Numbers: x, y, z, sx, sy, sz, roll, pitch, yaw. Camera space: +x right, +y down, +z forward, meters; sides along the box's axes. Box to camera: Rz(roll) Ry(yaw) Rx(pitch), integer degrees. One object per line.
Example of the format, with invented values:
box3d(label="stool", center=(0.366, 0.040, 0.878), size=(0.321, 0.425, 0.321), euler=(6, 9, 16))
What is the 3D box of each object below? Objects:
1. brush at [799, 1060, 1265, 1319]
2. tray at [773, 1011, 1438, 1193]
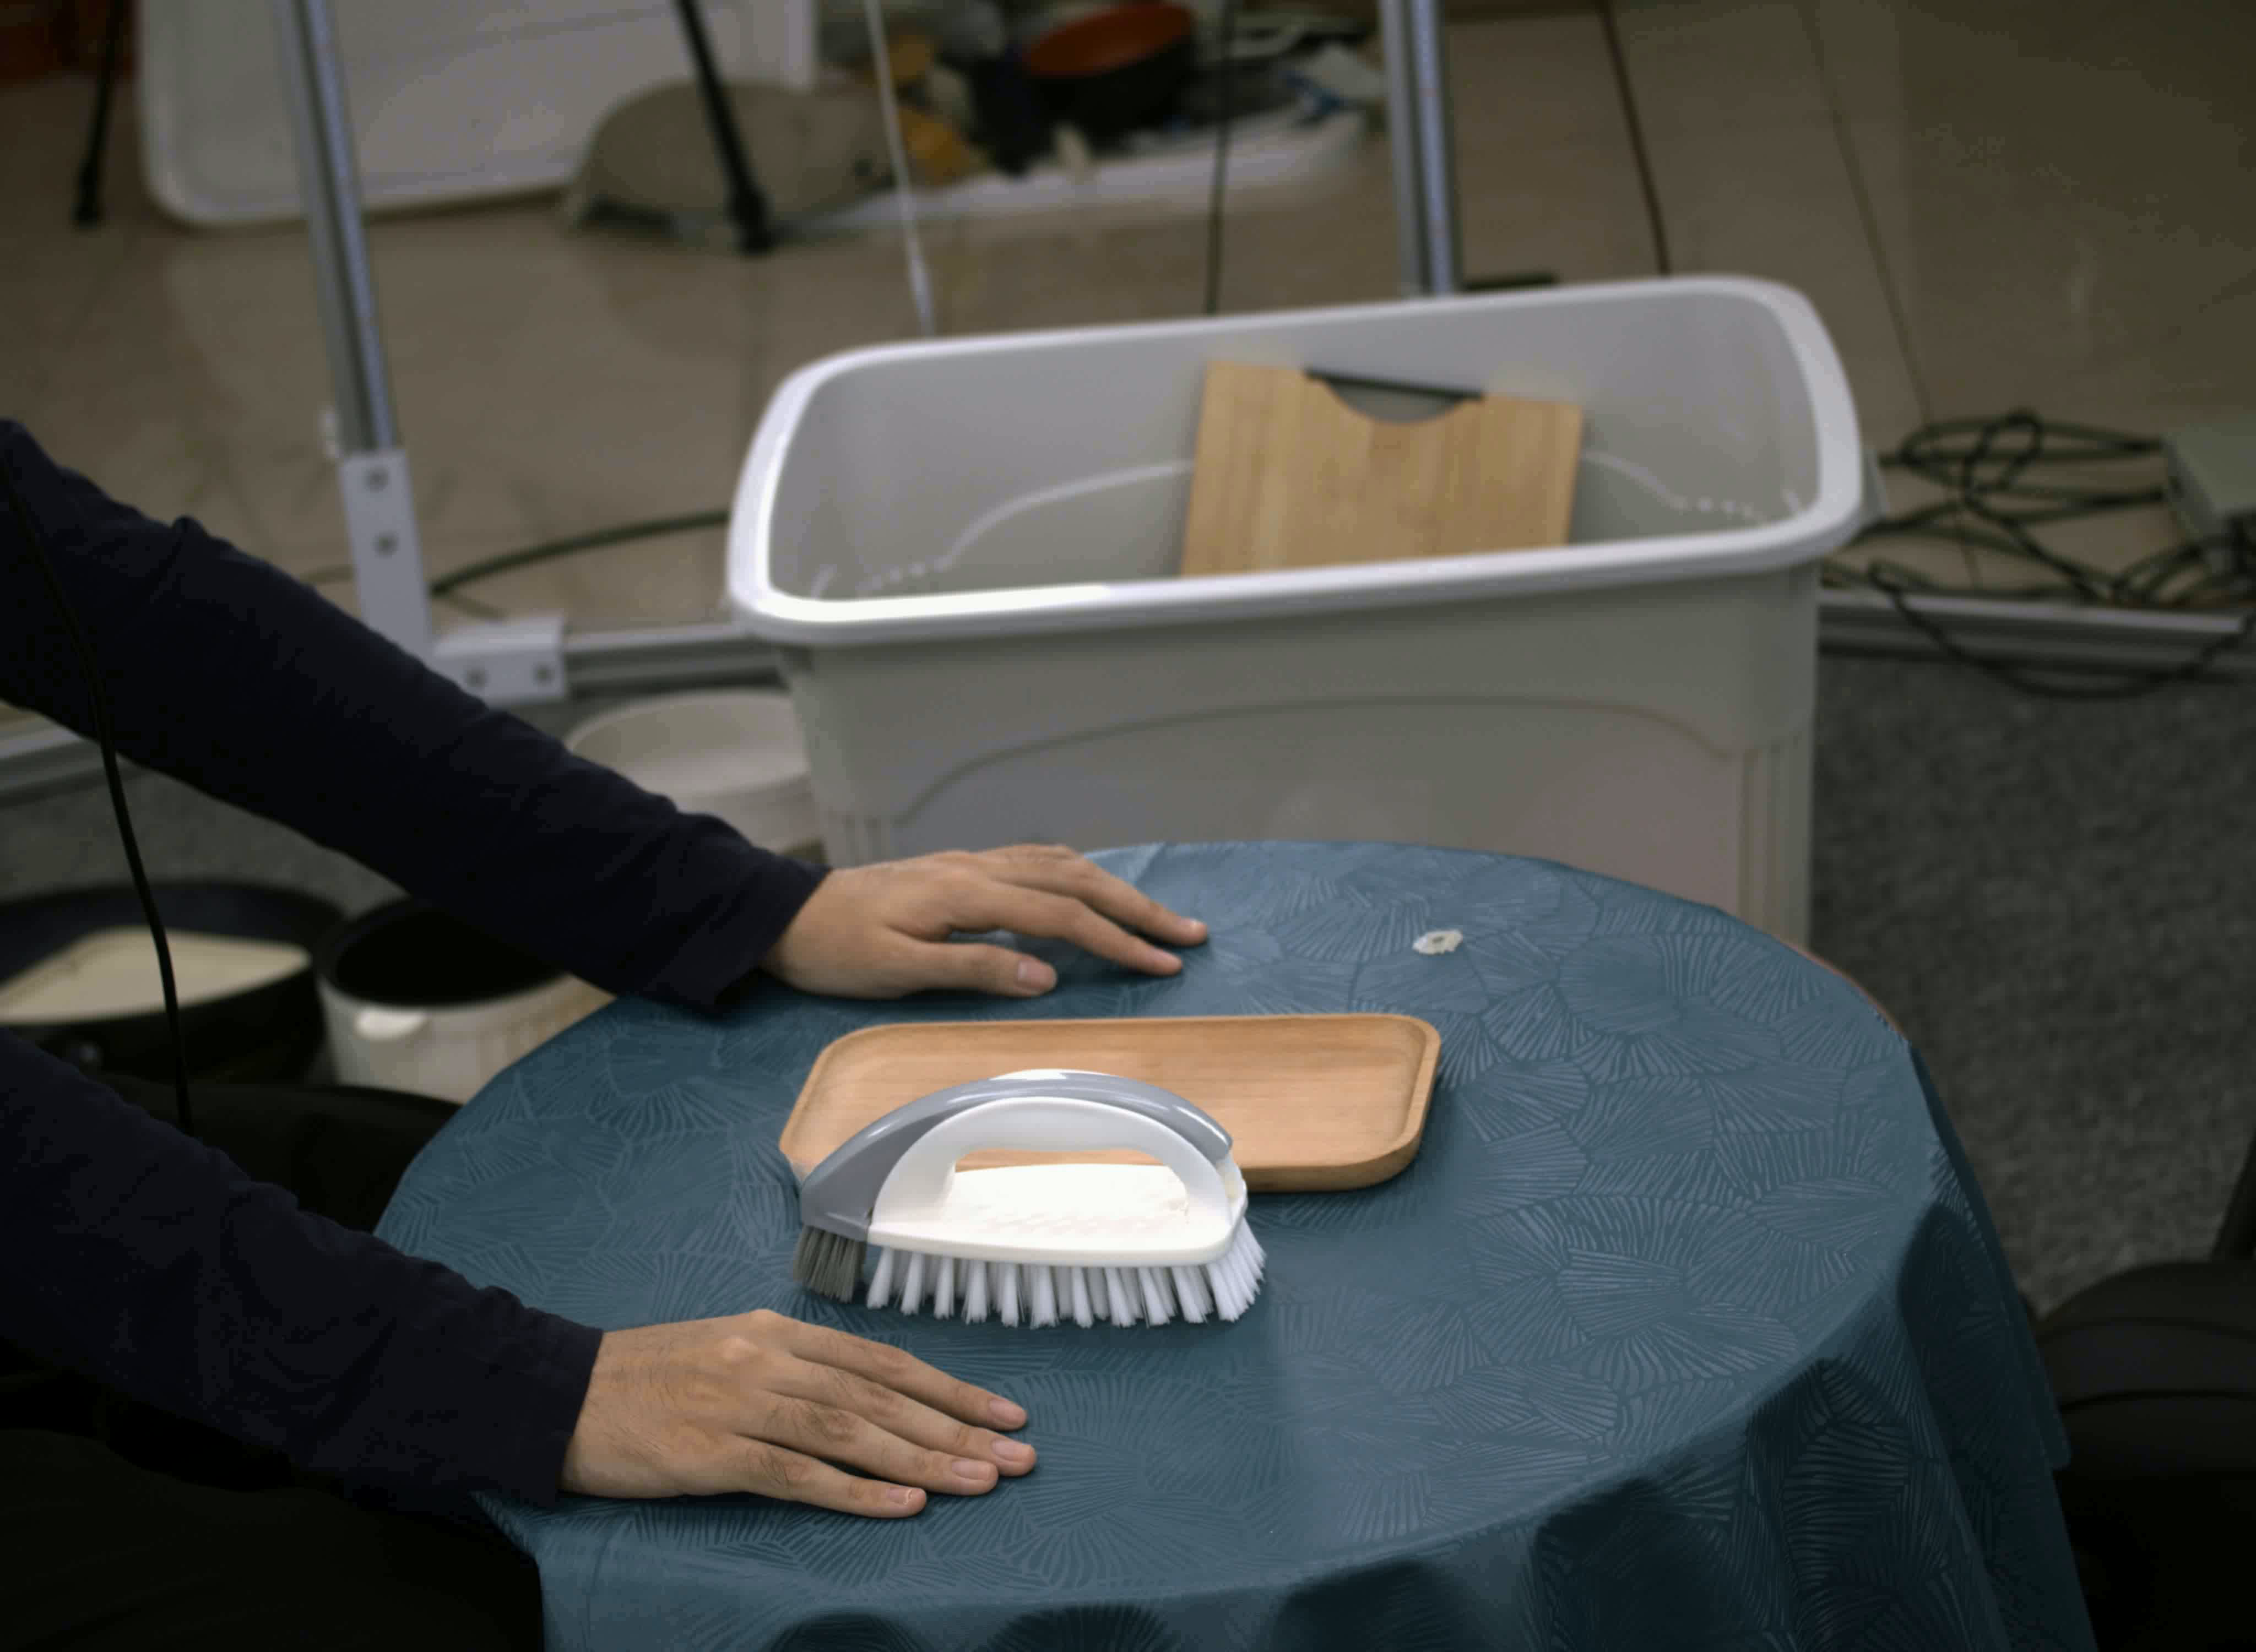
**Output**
box3d(label="brush", center=(-0.042, 0.131, 2.064), size=(0.175, 0.095, 0.060), euler=(-2, 25, 15))
box3d(label="tray", center=(-0.008, 0.108, 2.196), size=(0.250, 0.023, 0.129), euler=(-2, 23, 12))
